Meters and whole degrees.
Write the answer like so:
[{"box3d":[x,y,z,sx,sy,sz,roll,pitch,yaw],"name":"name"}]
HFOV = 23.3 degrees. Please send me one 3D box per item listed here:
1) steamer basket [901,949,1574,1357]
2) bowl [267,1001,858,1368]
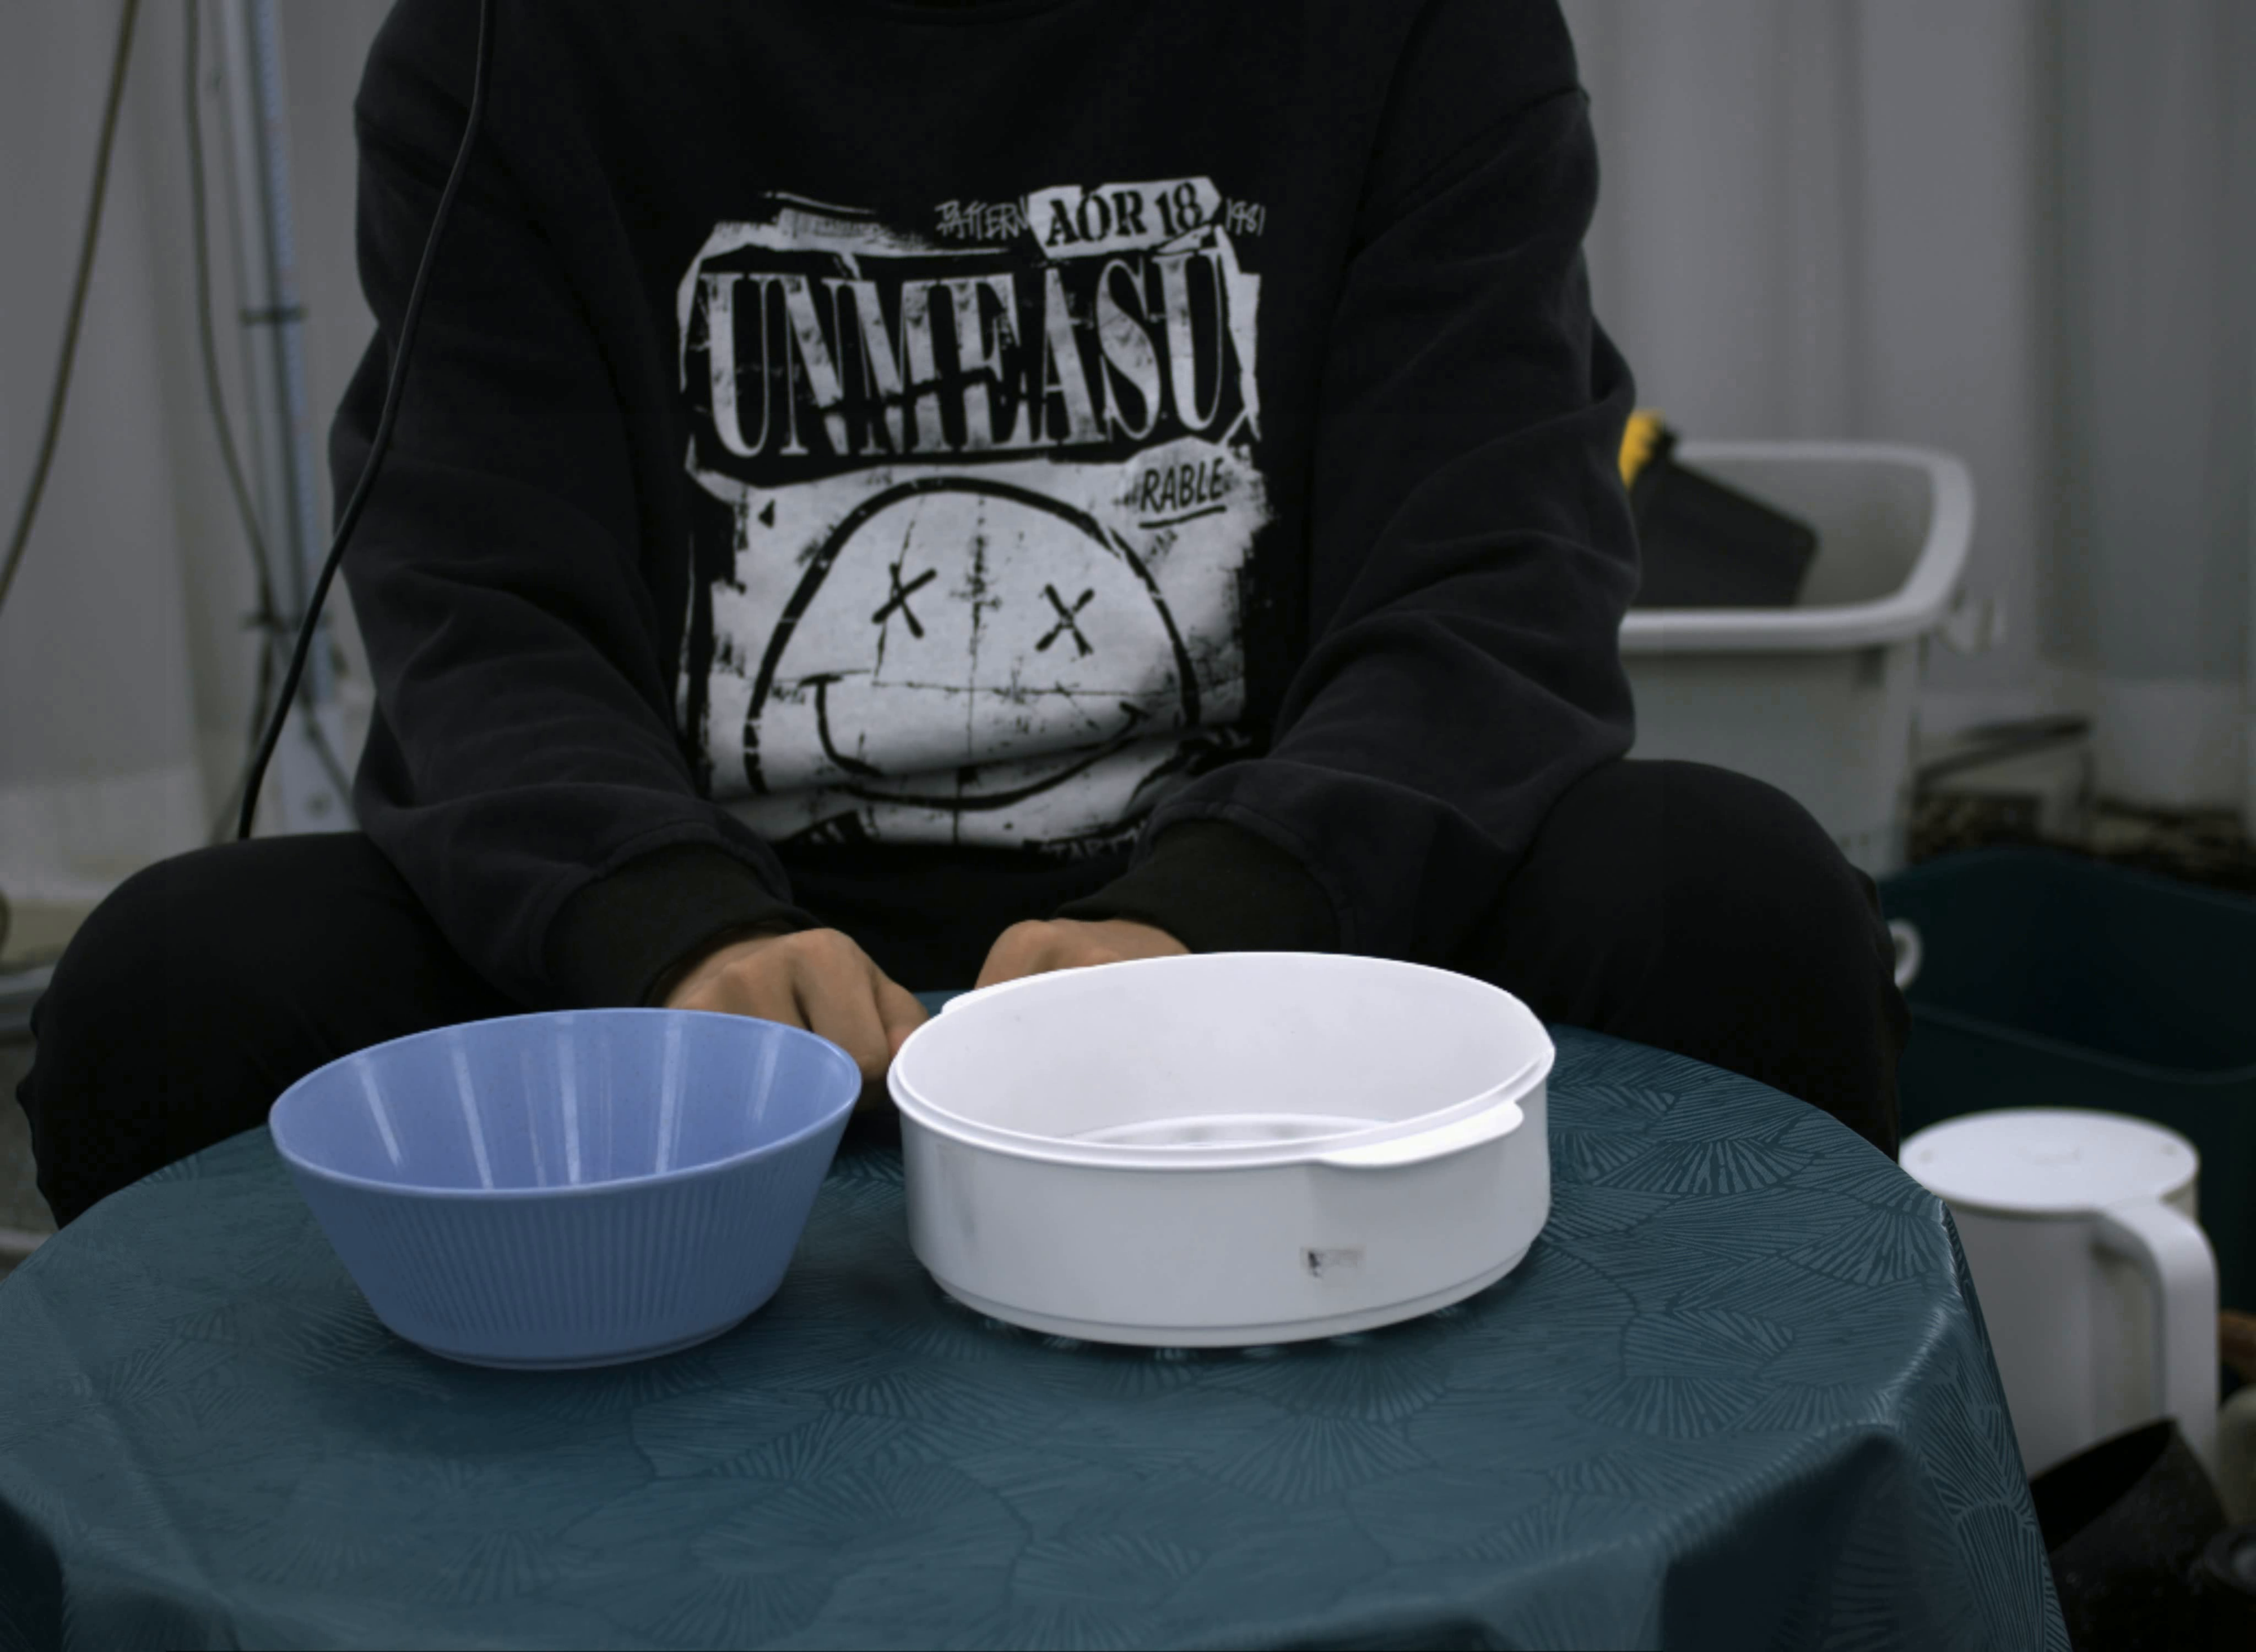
[{"box3d":[0.033,0.098,1.640,0.201,0.069,0.232,-13,20,-34],"name":"steamer basket"},{"box3d":[-0.166,0.110,1.627,0.175,0.070,0.177,-3,16,1],"name":"bowl"}]
